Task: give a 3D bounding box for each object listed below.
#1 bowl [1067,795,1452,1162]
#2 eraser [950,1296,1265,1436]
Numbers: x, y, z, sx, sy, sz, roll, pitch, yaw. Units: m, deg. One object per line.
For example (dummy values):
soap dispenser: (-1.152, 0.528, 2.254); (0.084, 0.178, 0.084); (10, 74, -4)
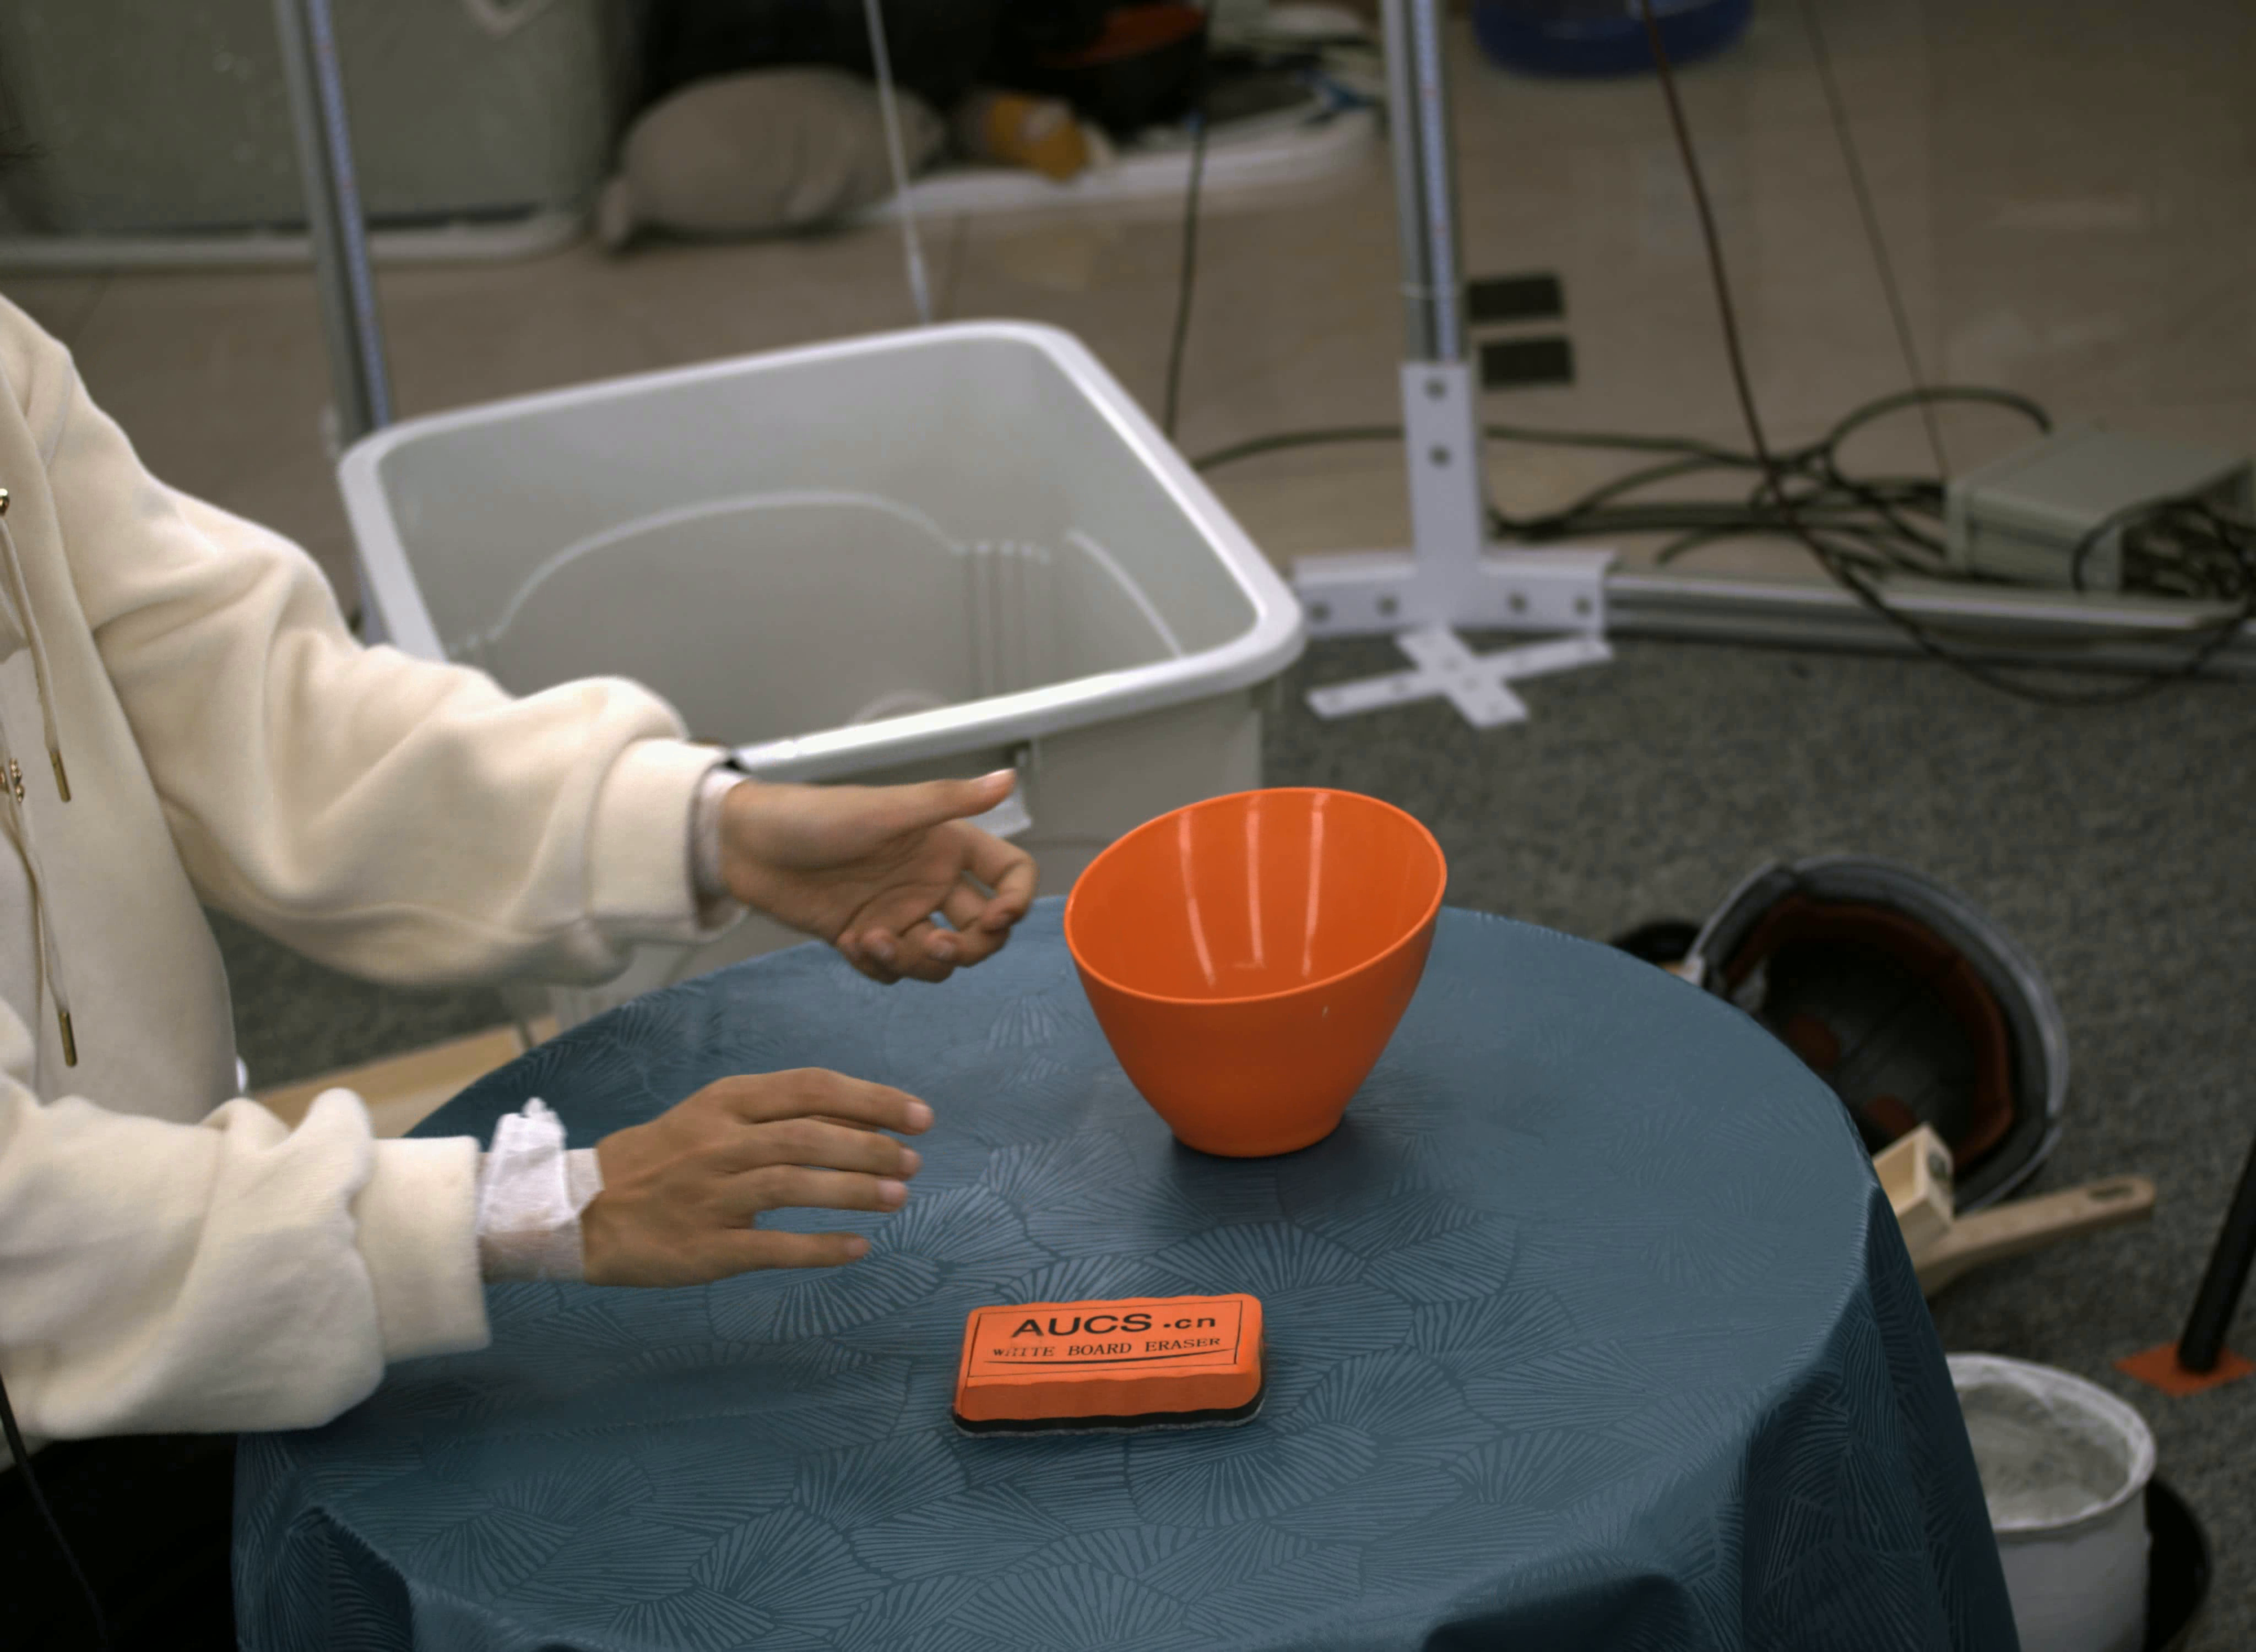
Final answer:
bowl: (0.052, 0.064, 2.173); (0.148, 0.106, 0.146); (-3, 24, 1)
eraser: (-0.007, 0.191, 2.010); (0.108, 0.023, 0.058); (-3, 28, 8)
